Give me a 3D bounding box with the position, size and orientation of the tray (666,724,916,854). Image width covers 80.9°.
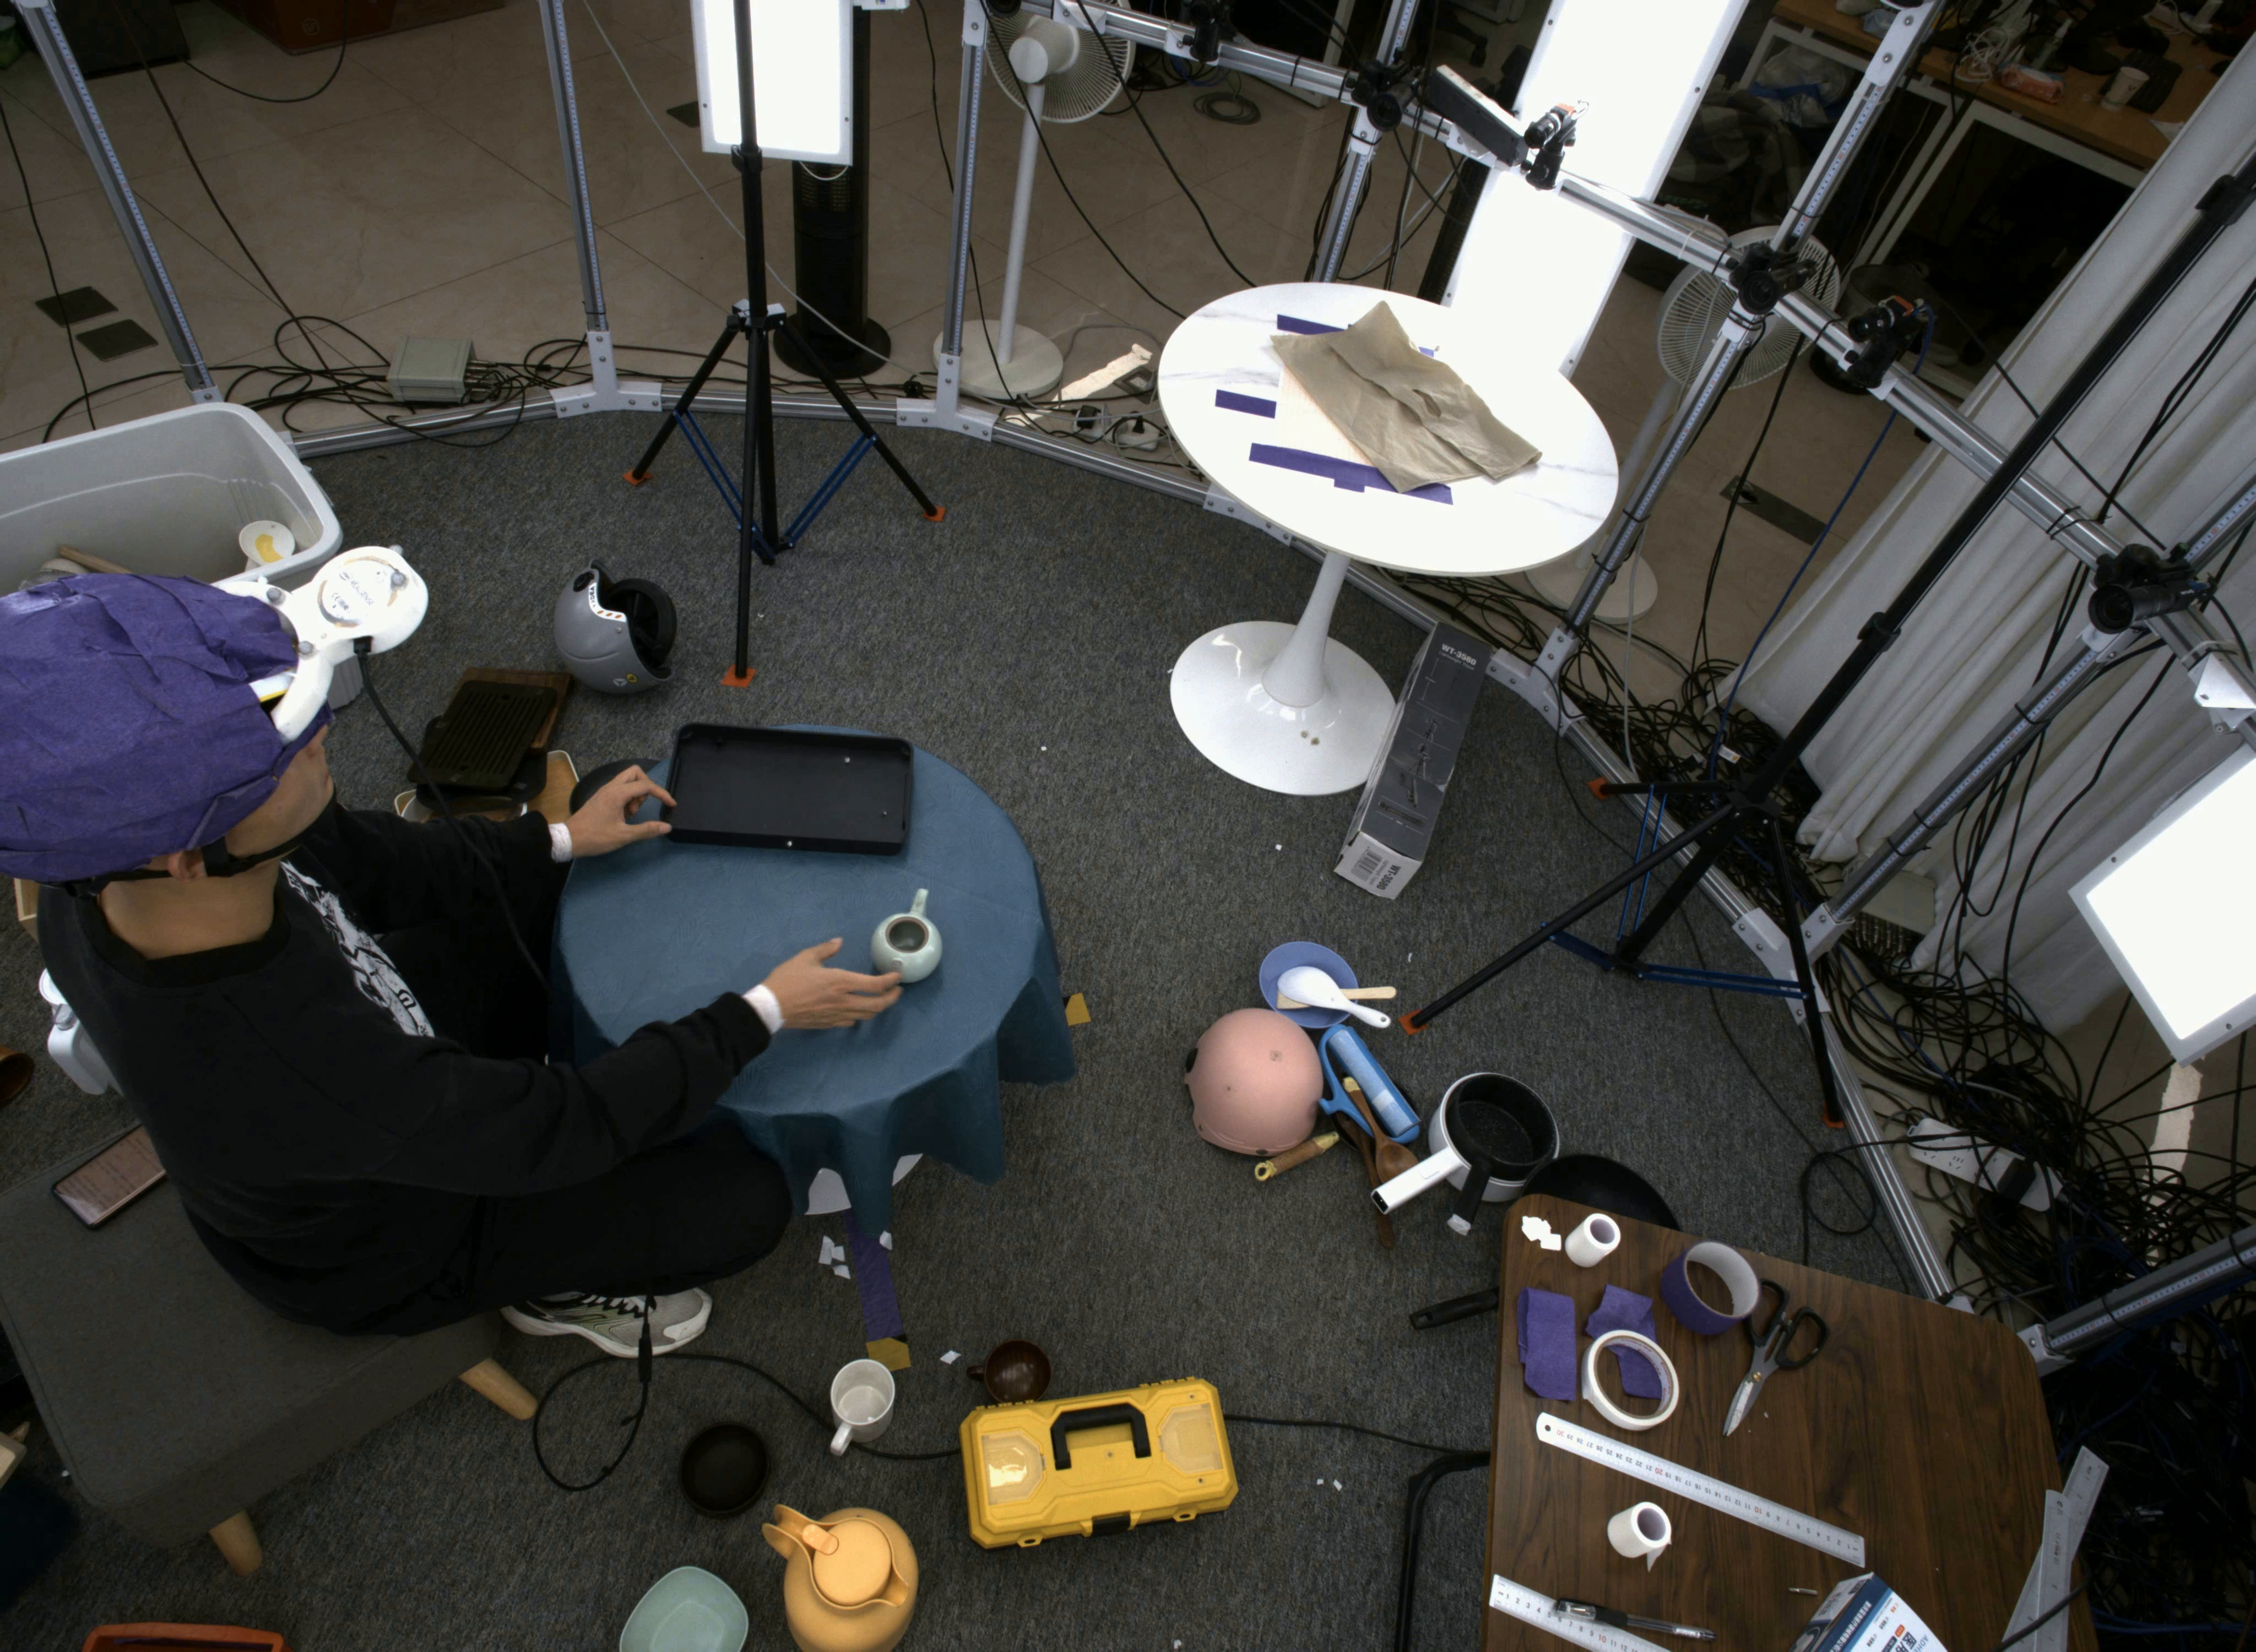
[{"bbox_3d":[-0.444,-0.050,1.731,0.318,0.038,0.180,2,53,-13],"label":"tray"}]

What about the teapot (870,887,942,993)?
[{"bbox_3d":[-0.274,0.147,1.603,0.087,0.076,0.142,17,50,0],"label":"teapot"}]
